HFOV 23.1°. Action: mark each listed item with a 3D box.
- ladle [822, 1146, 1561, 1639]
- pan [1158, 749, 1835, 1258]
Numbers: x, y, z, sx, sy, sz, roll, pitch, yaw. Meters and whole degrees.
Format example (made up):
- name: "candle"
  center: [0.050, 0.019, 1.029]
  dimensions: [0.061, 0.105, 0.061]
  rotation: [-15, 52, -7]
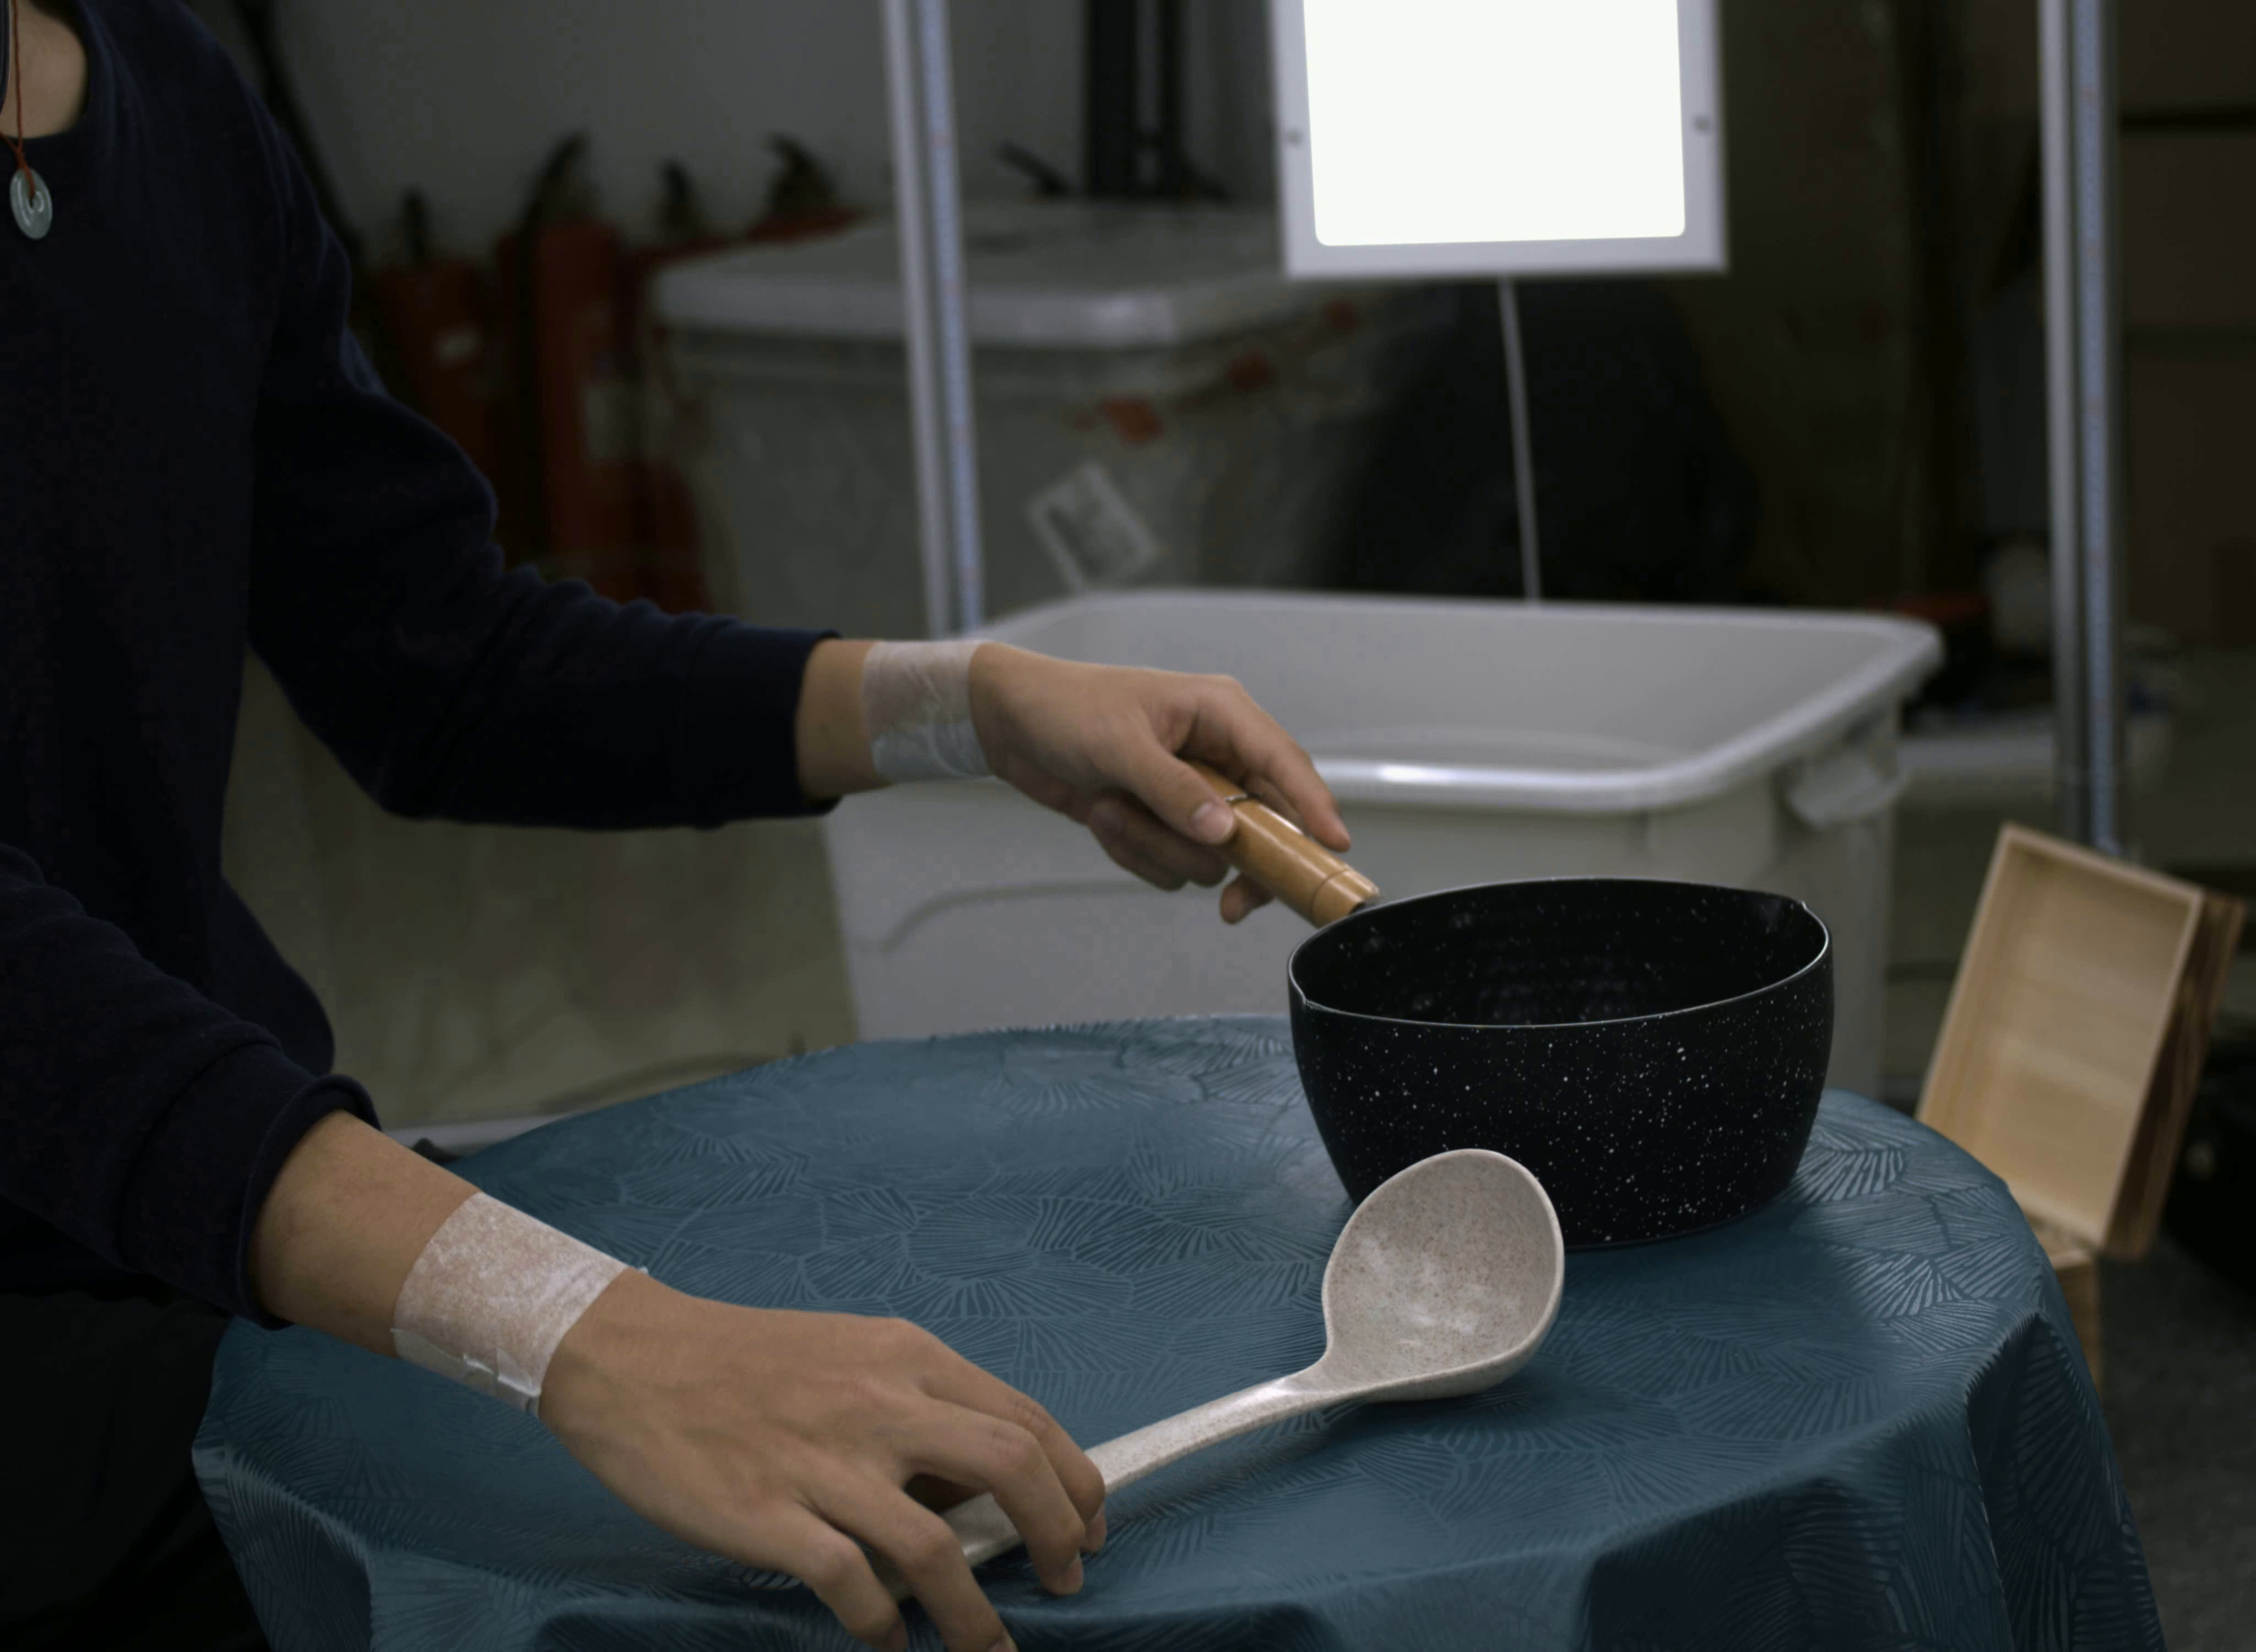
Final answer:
- name: "ladle"
  center: [0.017, 0.162, 1.609]
  dimensions: [0.268, 0.070, 0.091]
  rotation: [-17, 25, -38]
- name: "pan"
  center: [0.106, 0.056, 1.918]
  dimensions: [0.203, 0.108, 0.349]
  rotation: [-14, 18, -28]
